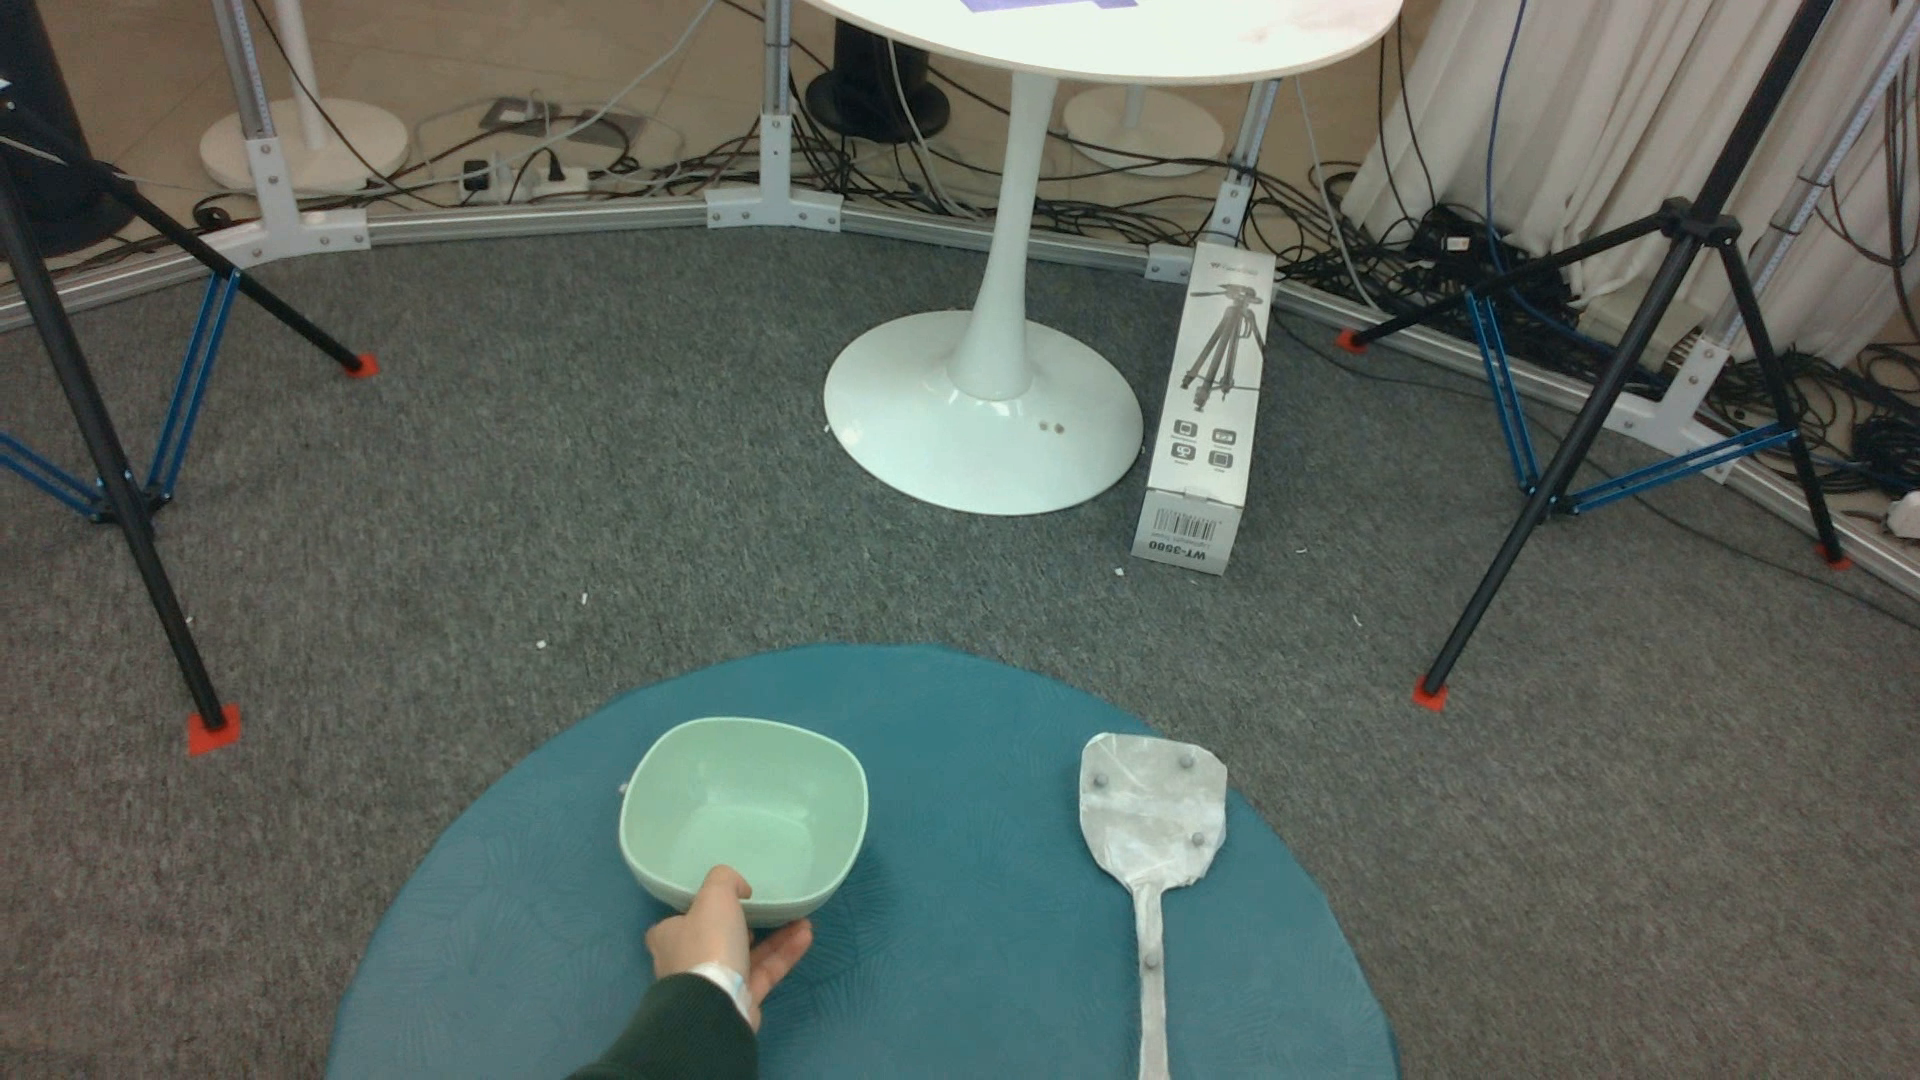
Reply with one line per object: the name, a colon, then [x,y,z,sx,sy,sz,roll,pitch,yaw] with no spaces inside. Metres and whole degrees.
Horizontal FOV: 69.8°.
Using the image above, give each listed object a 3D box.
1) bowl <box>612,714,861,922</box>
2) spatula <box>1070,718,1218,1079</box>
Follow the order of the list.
bowl: [-0.130,0.171,0.810,0.151,0.058,0.152,6,36,-4]
spatula: [0.103,0.255,0.795,0.099,0.044,0.367,12,41,-2]
